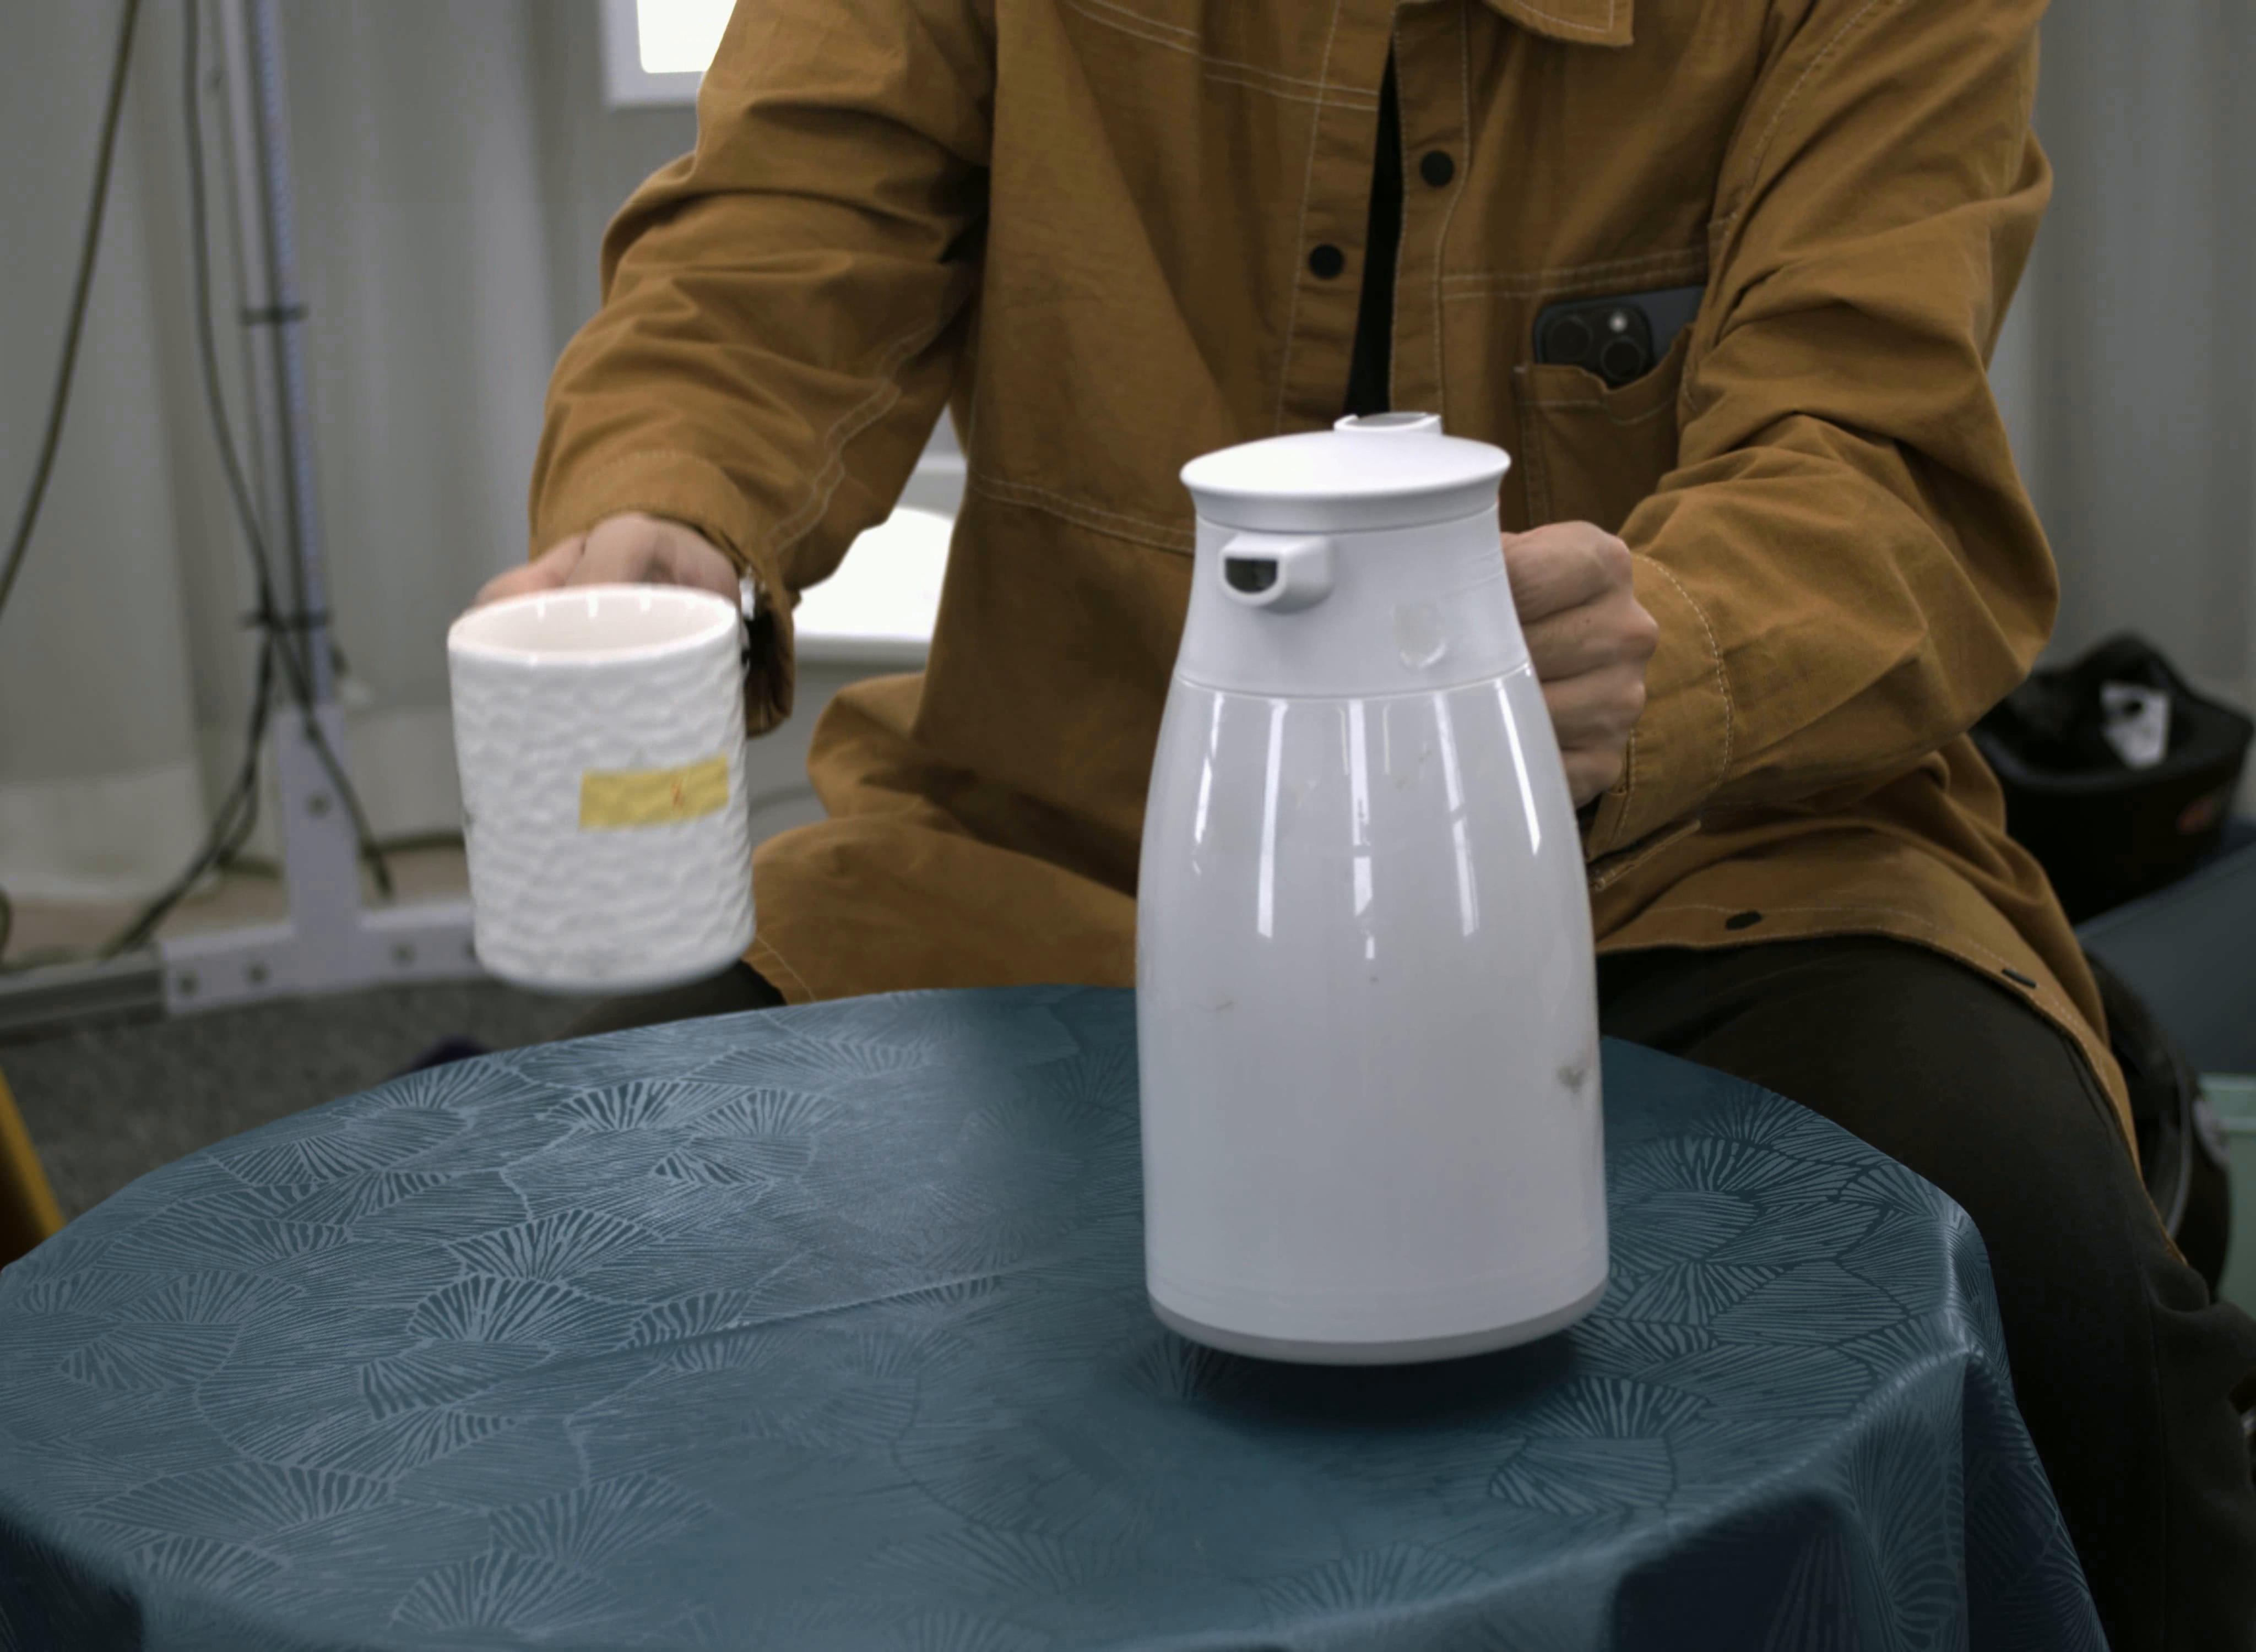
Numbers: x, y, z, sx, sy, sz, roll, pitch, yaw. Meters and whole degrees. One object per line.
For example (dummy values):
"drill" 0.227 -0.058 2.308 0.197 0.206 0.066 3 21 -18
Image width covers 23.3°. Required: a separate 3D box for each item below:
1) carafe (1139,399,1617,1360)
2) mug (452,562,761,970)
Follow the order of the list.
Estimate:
"carafe" 0.074 0.006 1.548 0.133 0.248 0.168 2 13 26
"mug" -0.154 -0.022 1.609 0.084 0.101 0.119 -5 15 -9
